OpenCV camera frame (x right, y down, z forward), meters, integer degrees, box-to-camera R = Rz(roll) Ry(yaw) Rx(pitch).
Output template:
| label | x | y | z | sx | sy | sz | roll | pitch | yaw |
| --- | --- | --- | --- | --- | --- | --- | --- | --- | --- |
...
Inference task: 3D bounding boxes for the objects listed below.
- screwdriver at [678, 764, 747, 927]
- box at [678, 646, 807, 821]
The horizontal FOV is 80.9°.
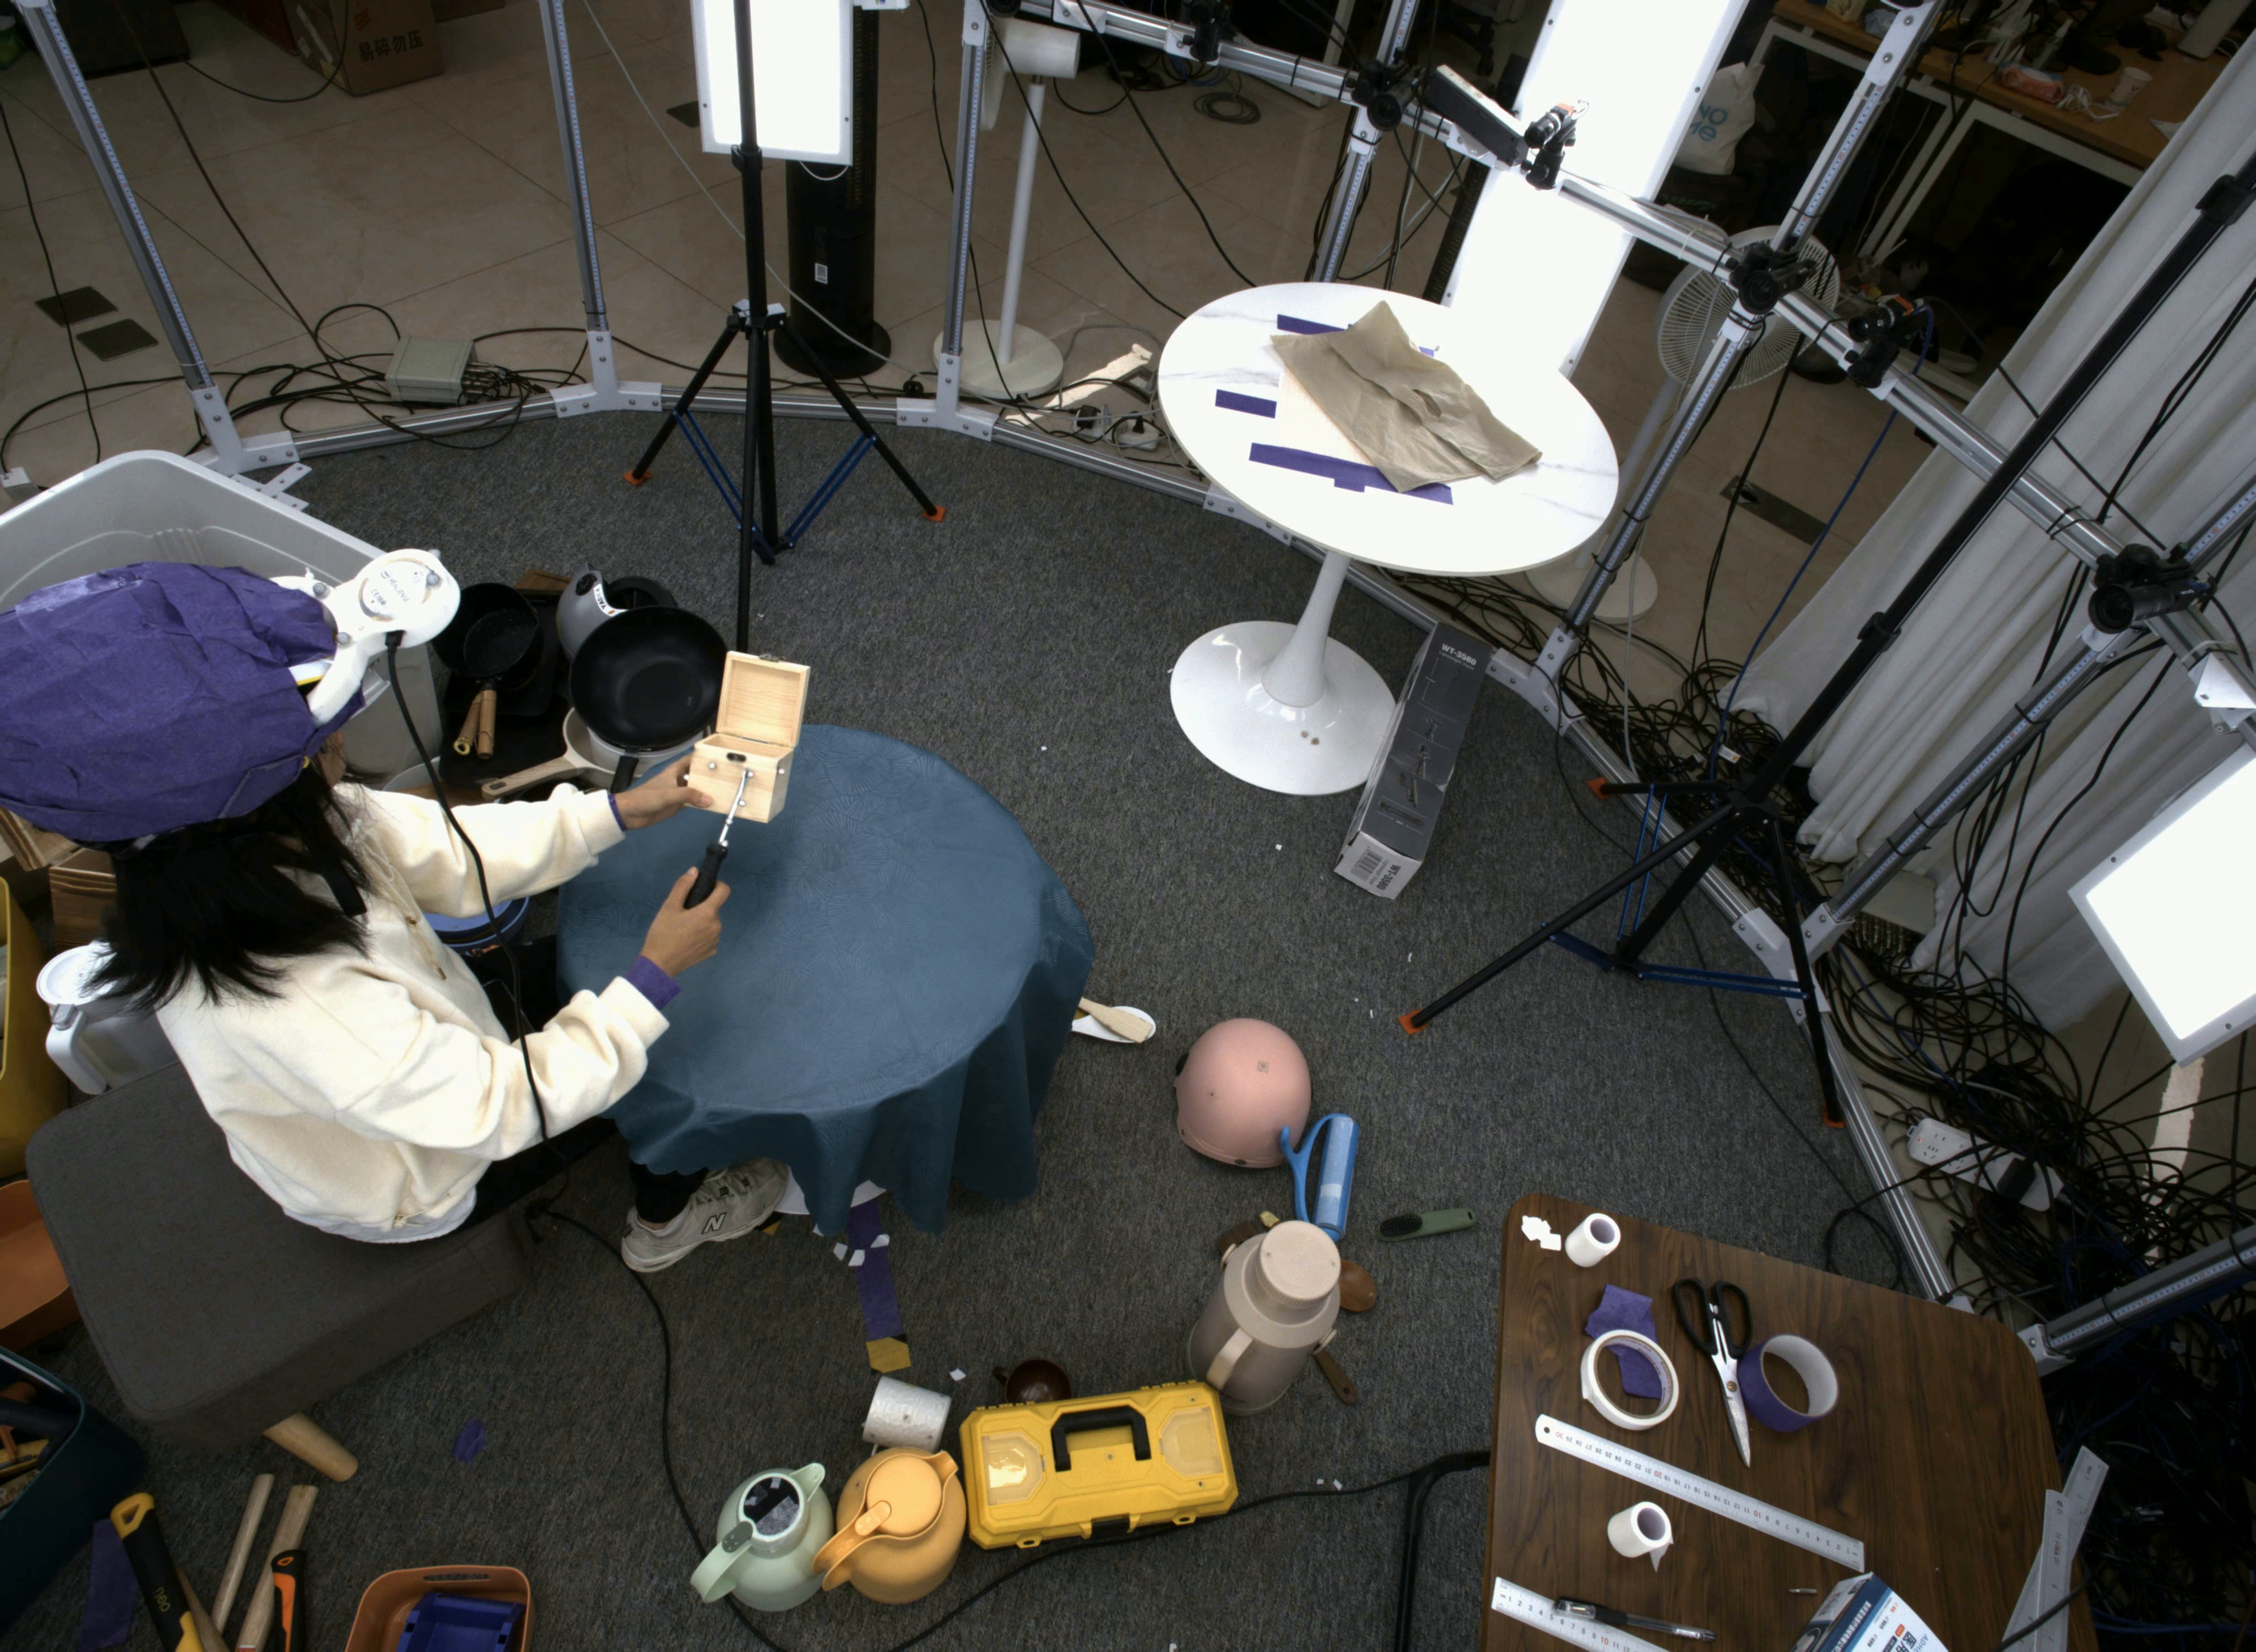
| label | x | y | z | sx | sy | sz | roll | pitch | yaw |
| --- | --- | --- | --- | --- | --- | --- | --- | --- | --- |
| screwdriver | -0.471 | 0.020 | 1.481 | 0.031 | 0.032 | 0.197 | 17 | 71 | 1 |
| box | -0.463 | -0.116 | 1.558 | 0.102 | 0.187 | 0.132 | 11 | 9 | -6 |
